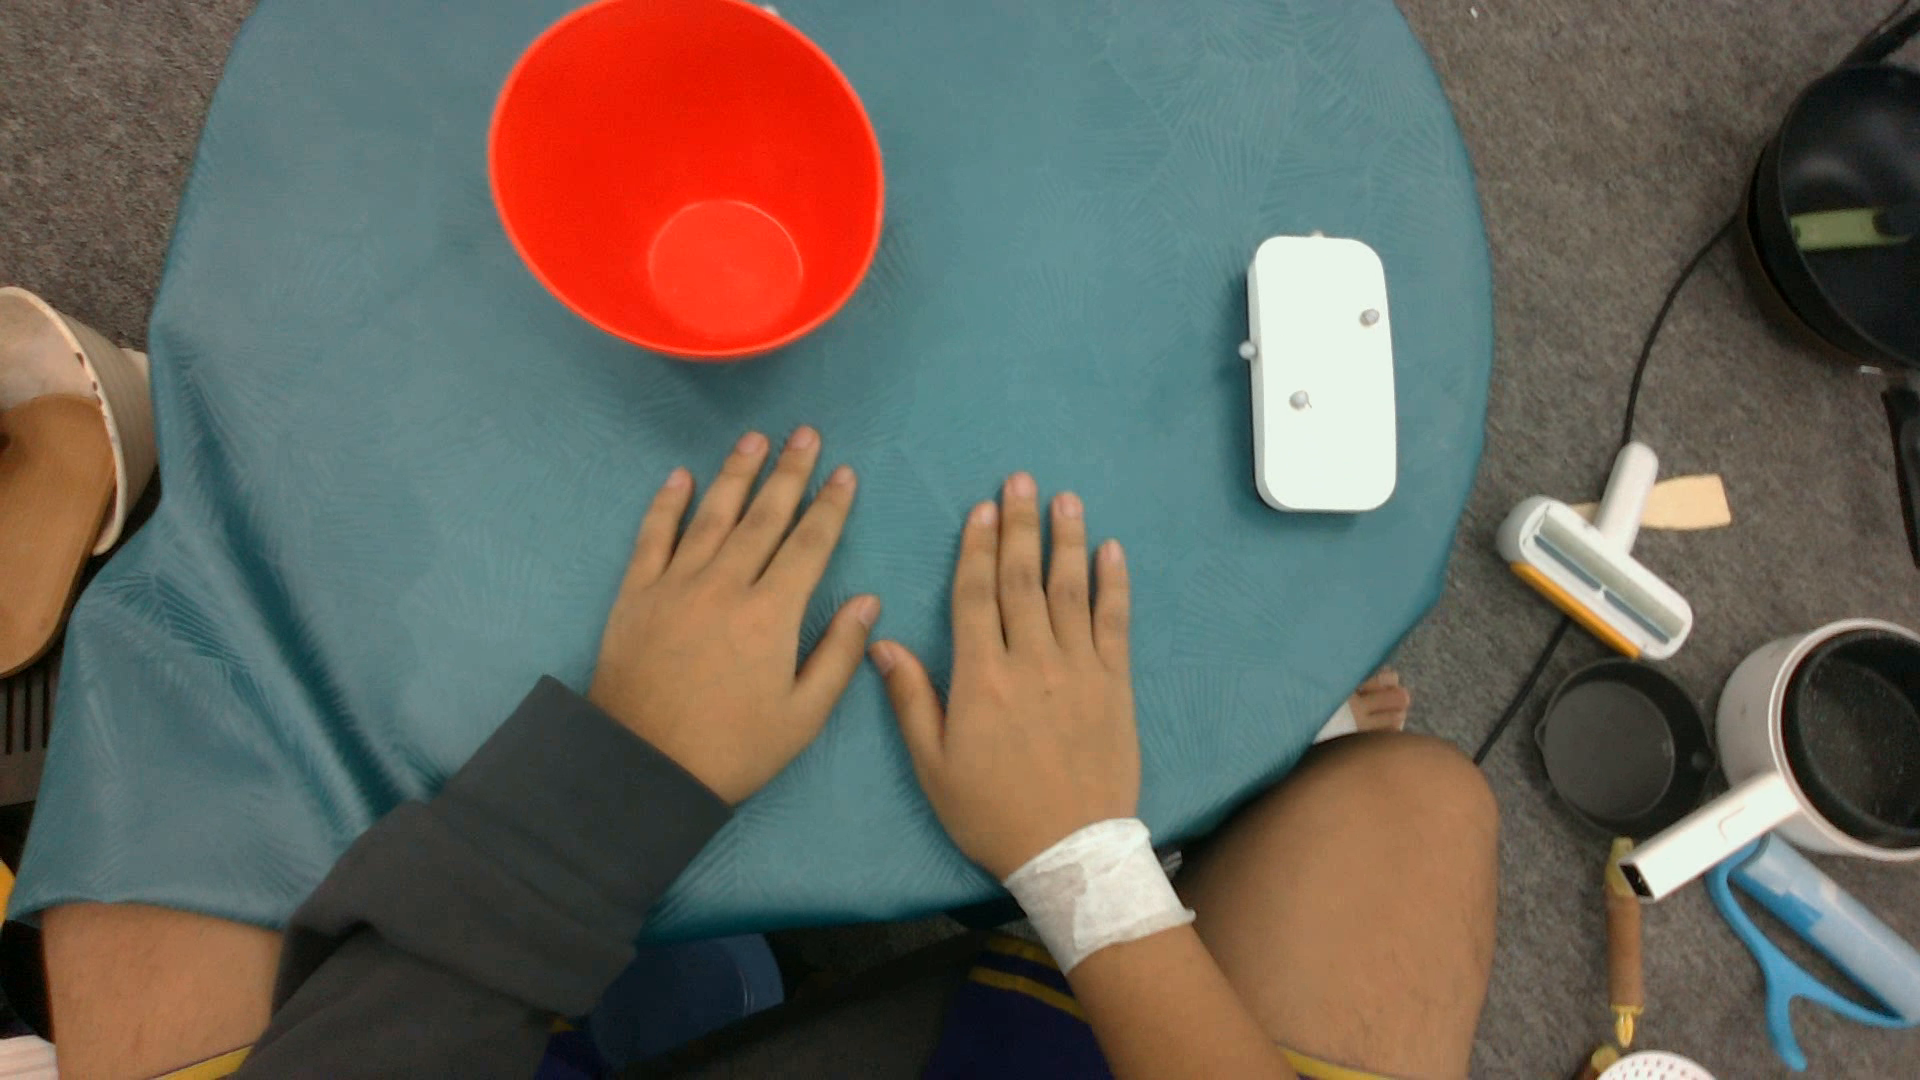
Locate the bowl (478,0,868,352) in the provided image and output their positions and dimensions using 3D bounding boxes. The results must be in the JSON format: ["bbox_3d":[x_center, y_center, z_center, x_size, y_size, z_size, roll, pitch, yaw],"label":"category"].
[{"bbox_3d":[-0.114,-0.139,0.571,0.148,0.104,0.148,2,78,-10],"label":"bowl"}]

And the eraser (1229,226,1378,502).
[{"bbox_3d":[0.156,-0.082,0.637,0.063,0.034,0.131,2,76,-8],"label":"eraser"}]
